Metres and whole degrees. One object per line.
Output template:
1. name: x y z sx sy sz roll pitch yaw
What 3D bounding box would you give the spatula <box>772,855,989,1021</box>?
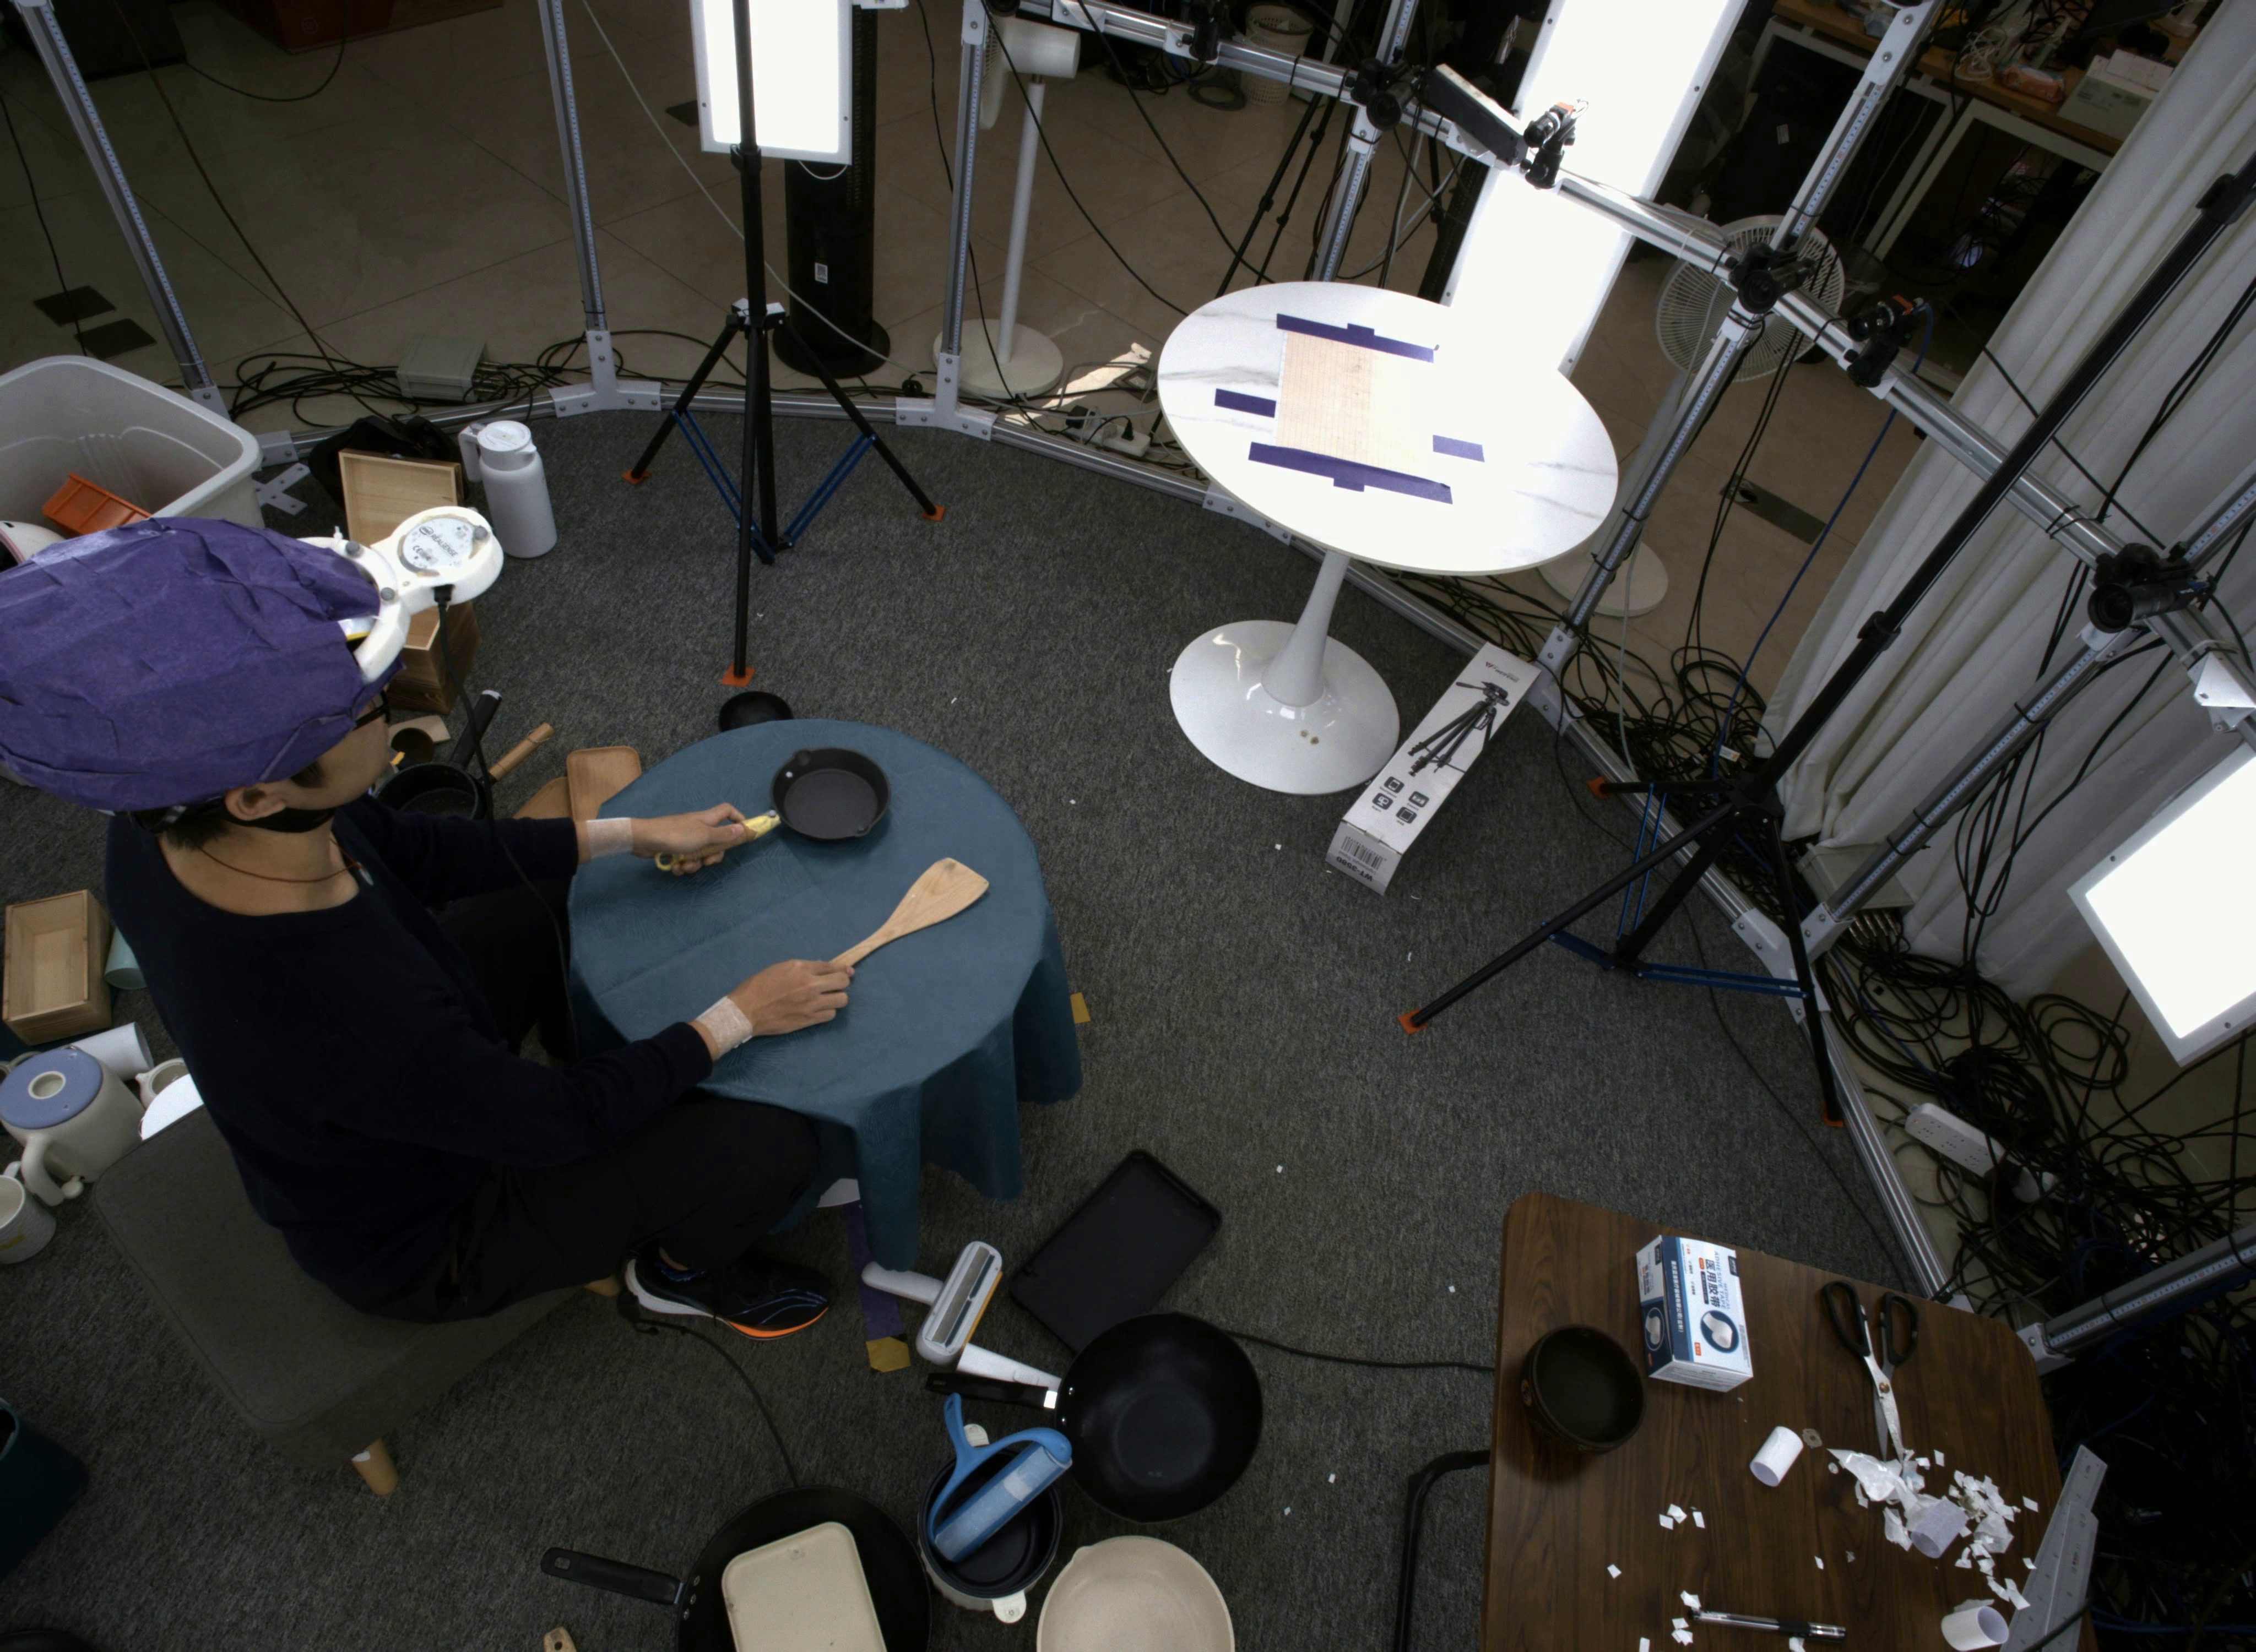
1. spatula: -0.314 0.138 1.629 0.078 0.017 0.328 40 54 17

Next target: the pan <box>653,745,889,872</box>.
1. pan: -0.463 -0.010 1.679 0.326 0.050 0.165 -26 64 -31
